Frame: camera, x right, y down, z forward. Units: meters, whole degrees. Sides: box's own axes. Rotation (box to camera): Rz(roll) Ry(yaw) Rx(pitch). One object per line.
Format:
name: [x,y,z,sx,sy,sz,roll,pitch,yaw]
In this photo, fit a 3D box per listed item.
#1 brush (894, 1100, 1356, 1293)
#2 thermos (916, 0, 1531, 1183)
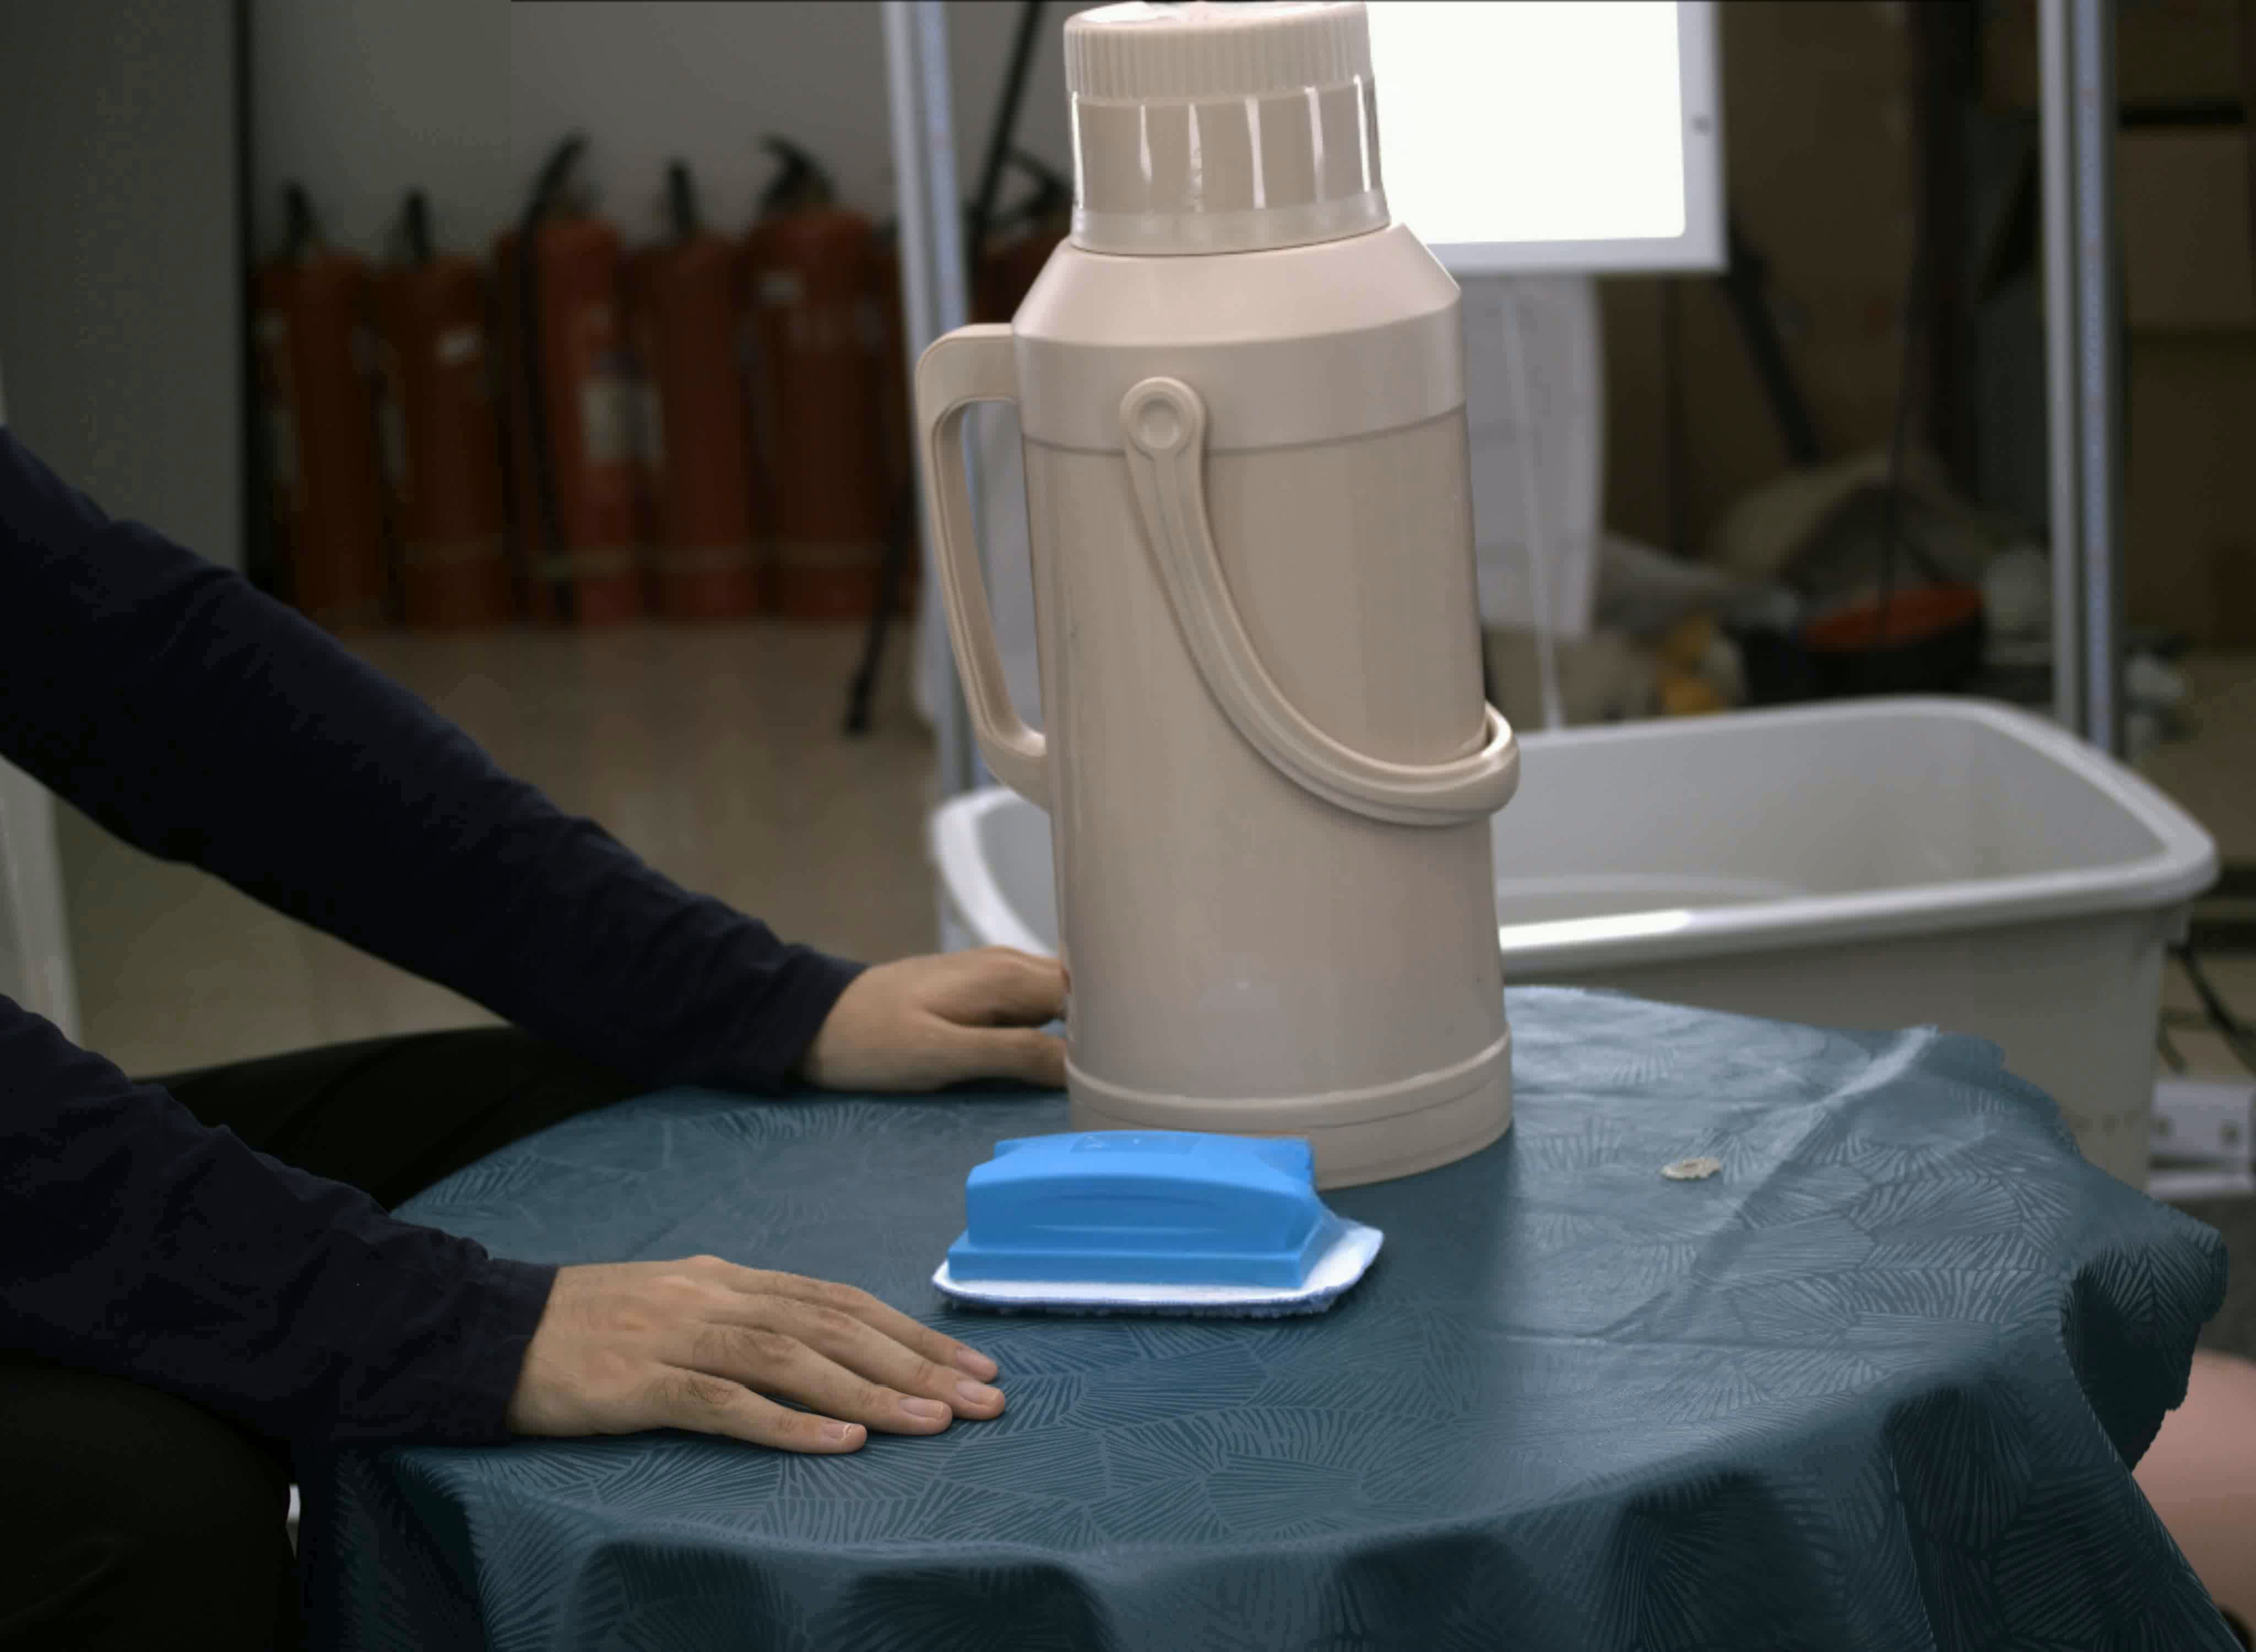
brush: [0.000,0.120,1.791,0.146,0.056,0.082,4,12,19]
thermos: [0.034,-0.086,1.918,0.210,0.408,0.172,-1,16,20]
